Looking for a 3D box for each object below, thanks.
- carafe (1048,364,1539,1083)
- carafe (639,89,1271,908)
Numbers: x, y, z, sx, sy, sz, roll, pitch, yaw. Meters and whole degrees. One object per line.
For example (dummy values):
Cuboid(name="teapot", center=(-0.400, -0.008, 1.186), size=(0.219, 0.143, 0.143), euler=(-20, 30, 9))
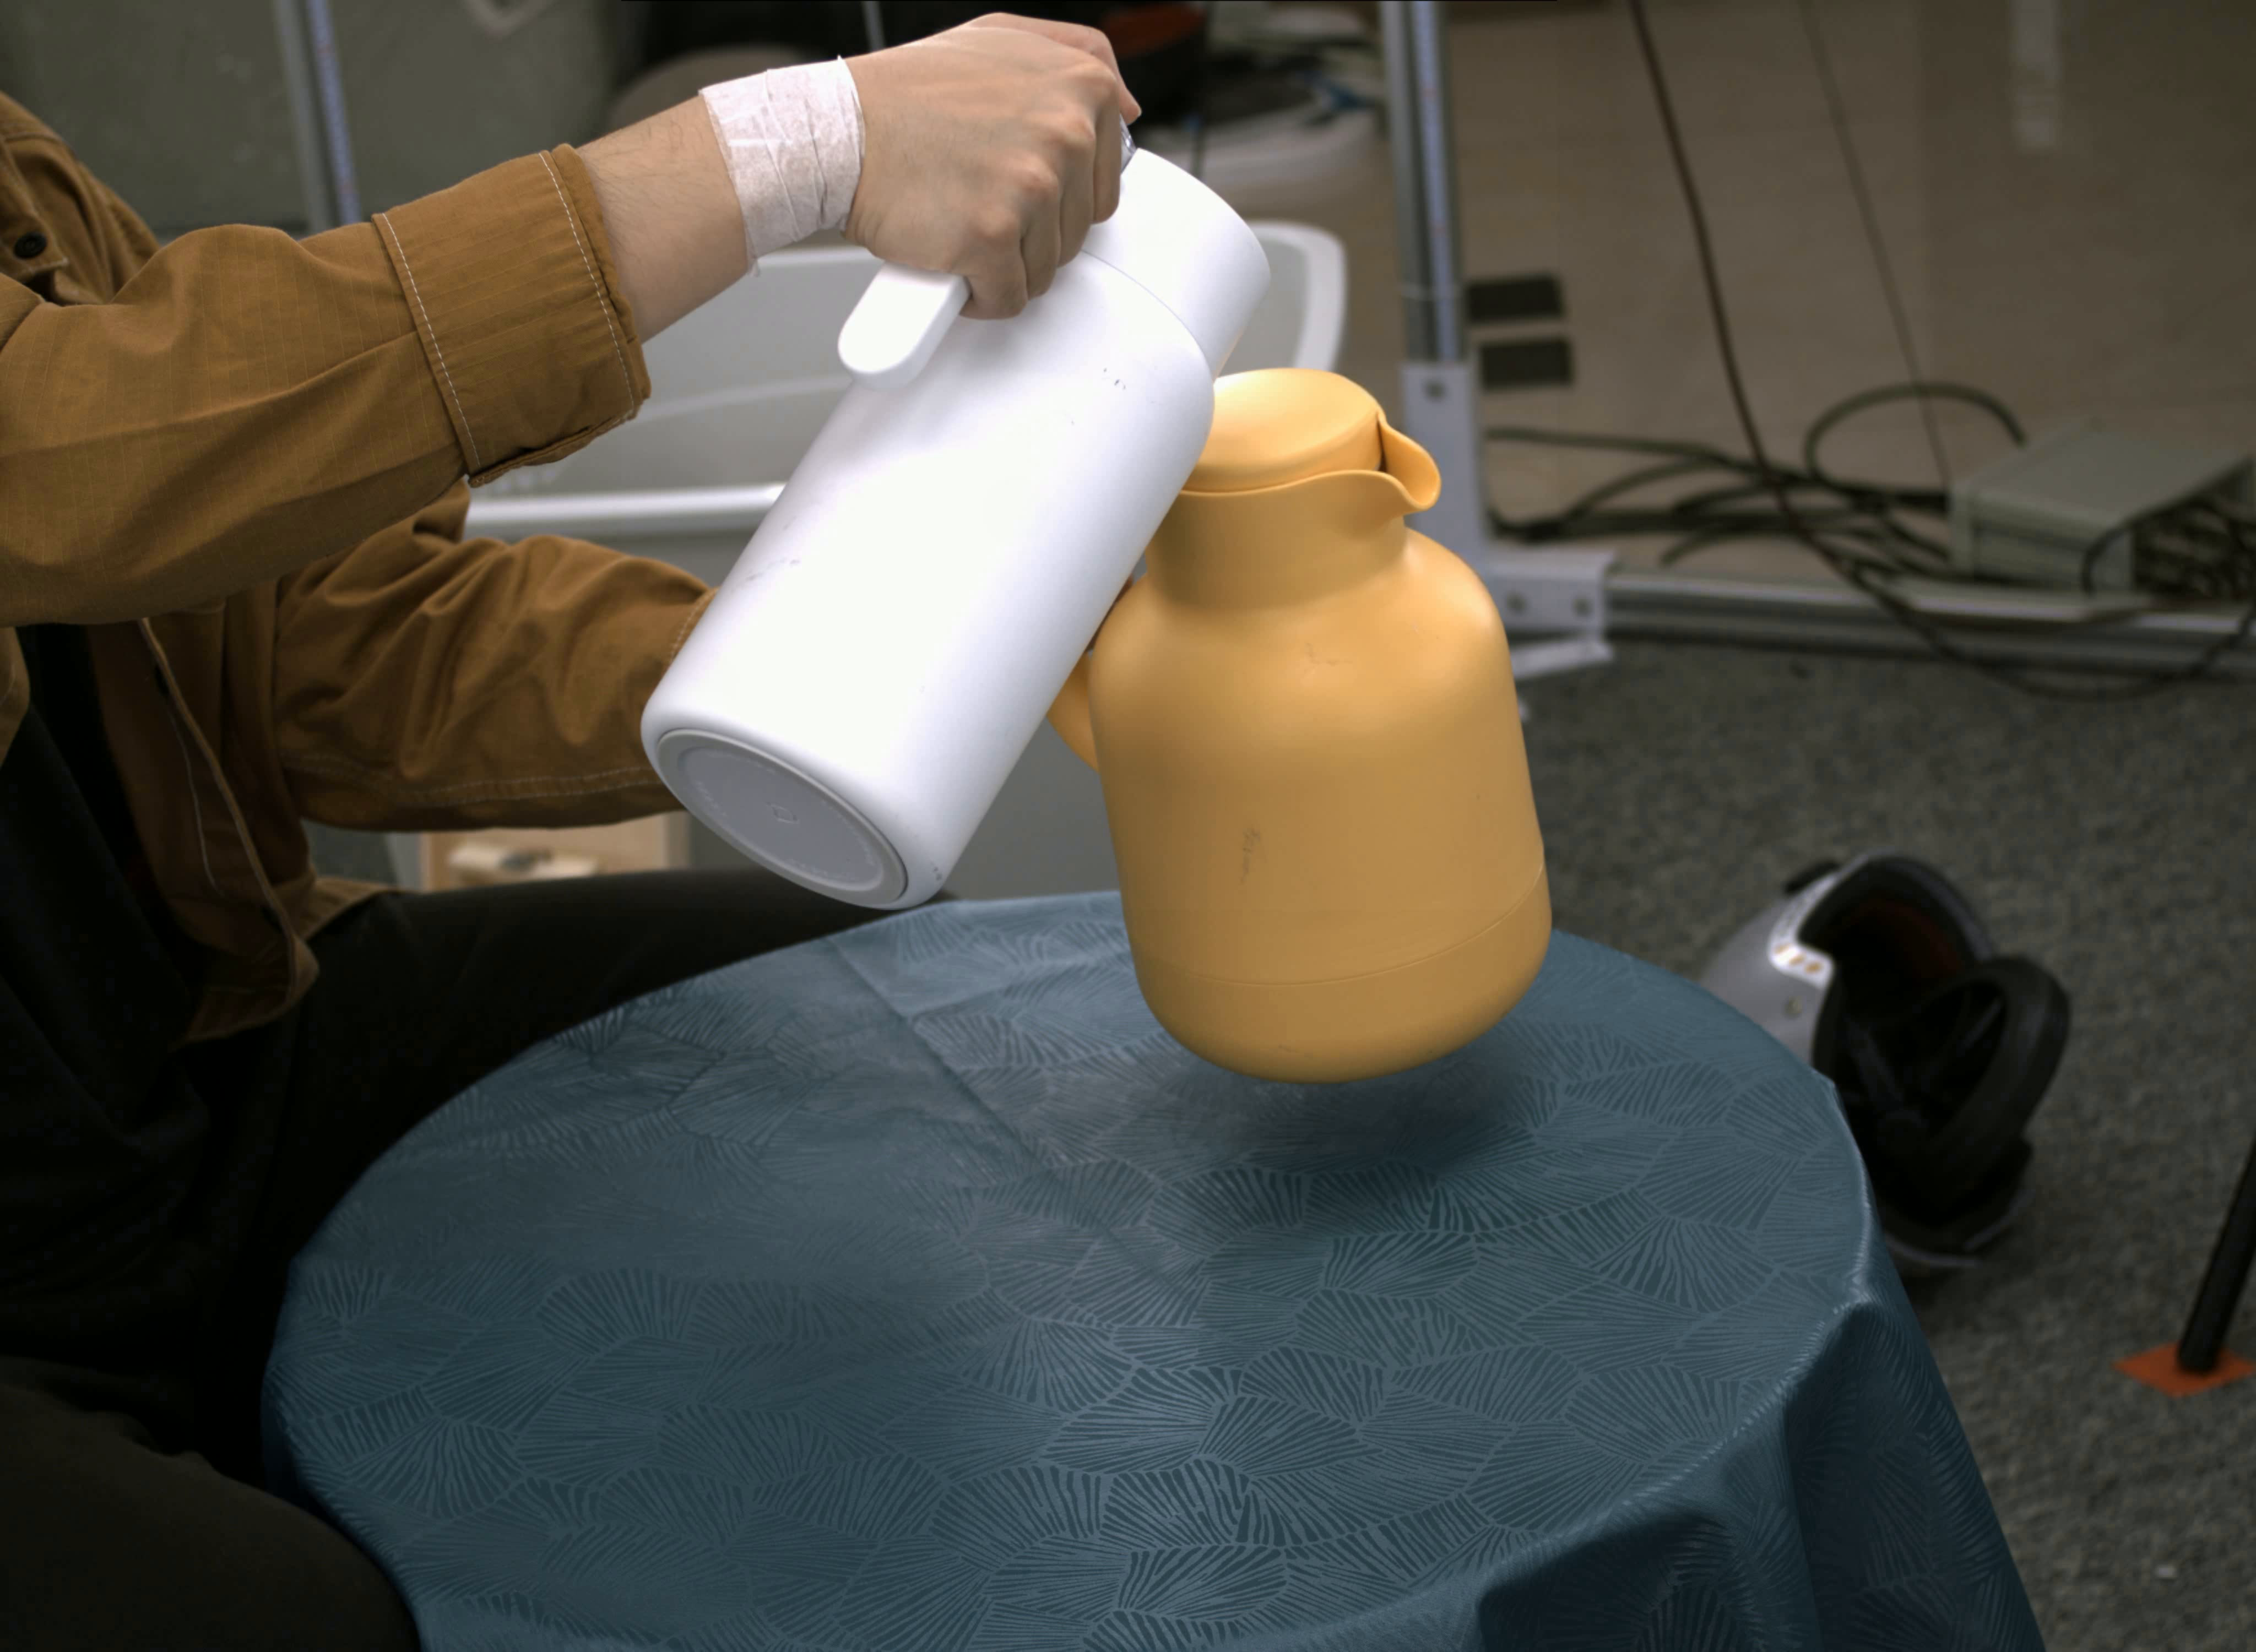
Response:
Cuboid(name="carafe", center=(0.051, -0.047, 2.146), size=(0.201, 0.265, 0.162), euler=(15, 35, 36))
Cuboid(name="carafe", center=(-0.059, -0.117, 1.934), size=(0.123, 0.175, 0.266), euler=(22, 68, 28))
